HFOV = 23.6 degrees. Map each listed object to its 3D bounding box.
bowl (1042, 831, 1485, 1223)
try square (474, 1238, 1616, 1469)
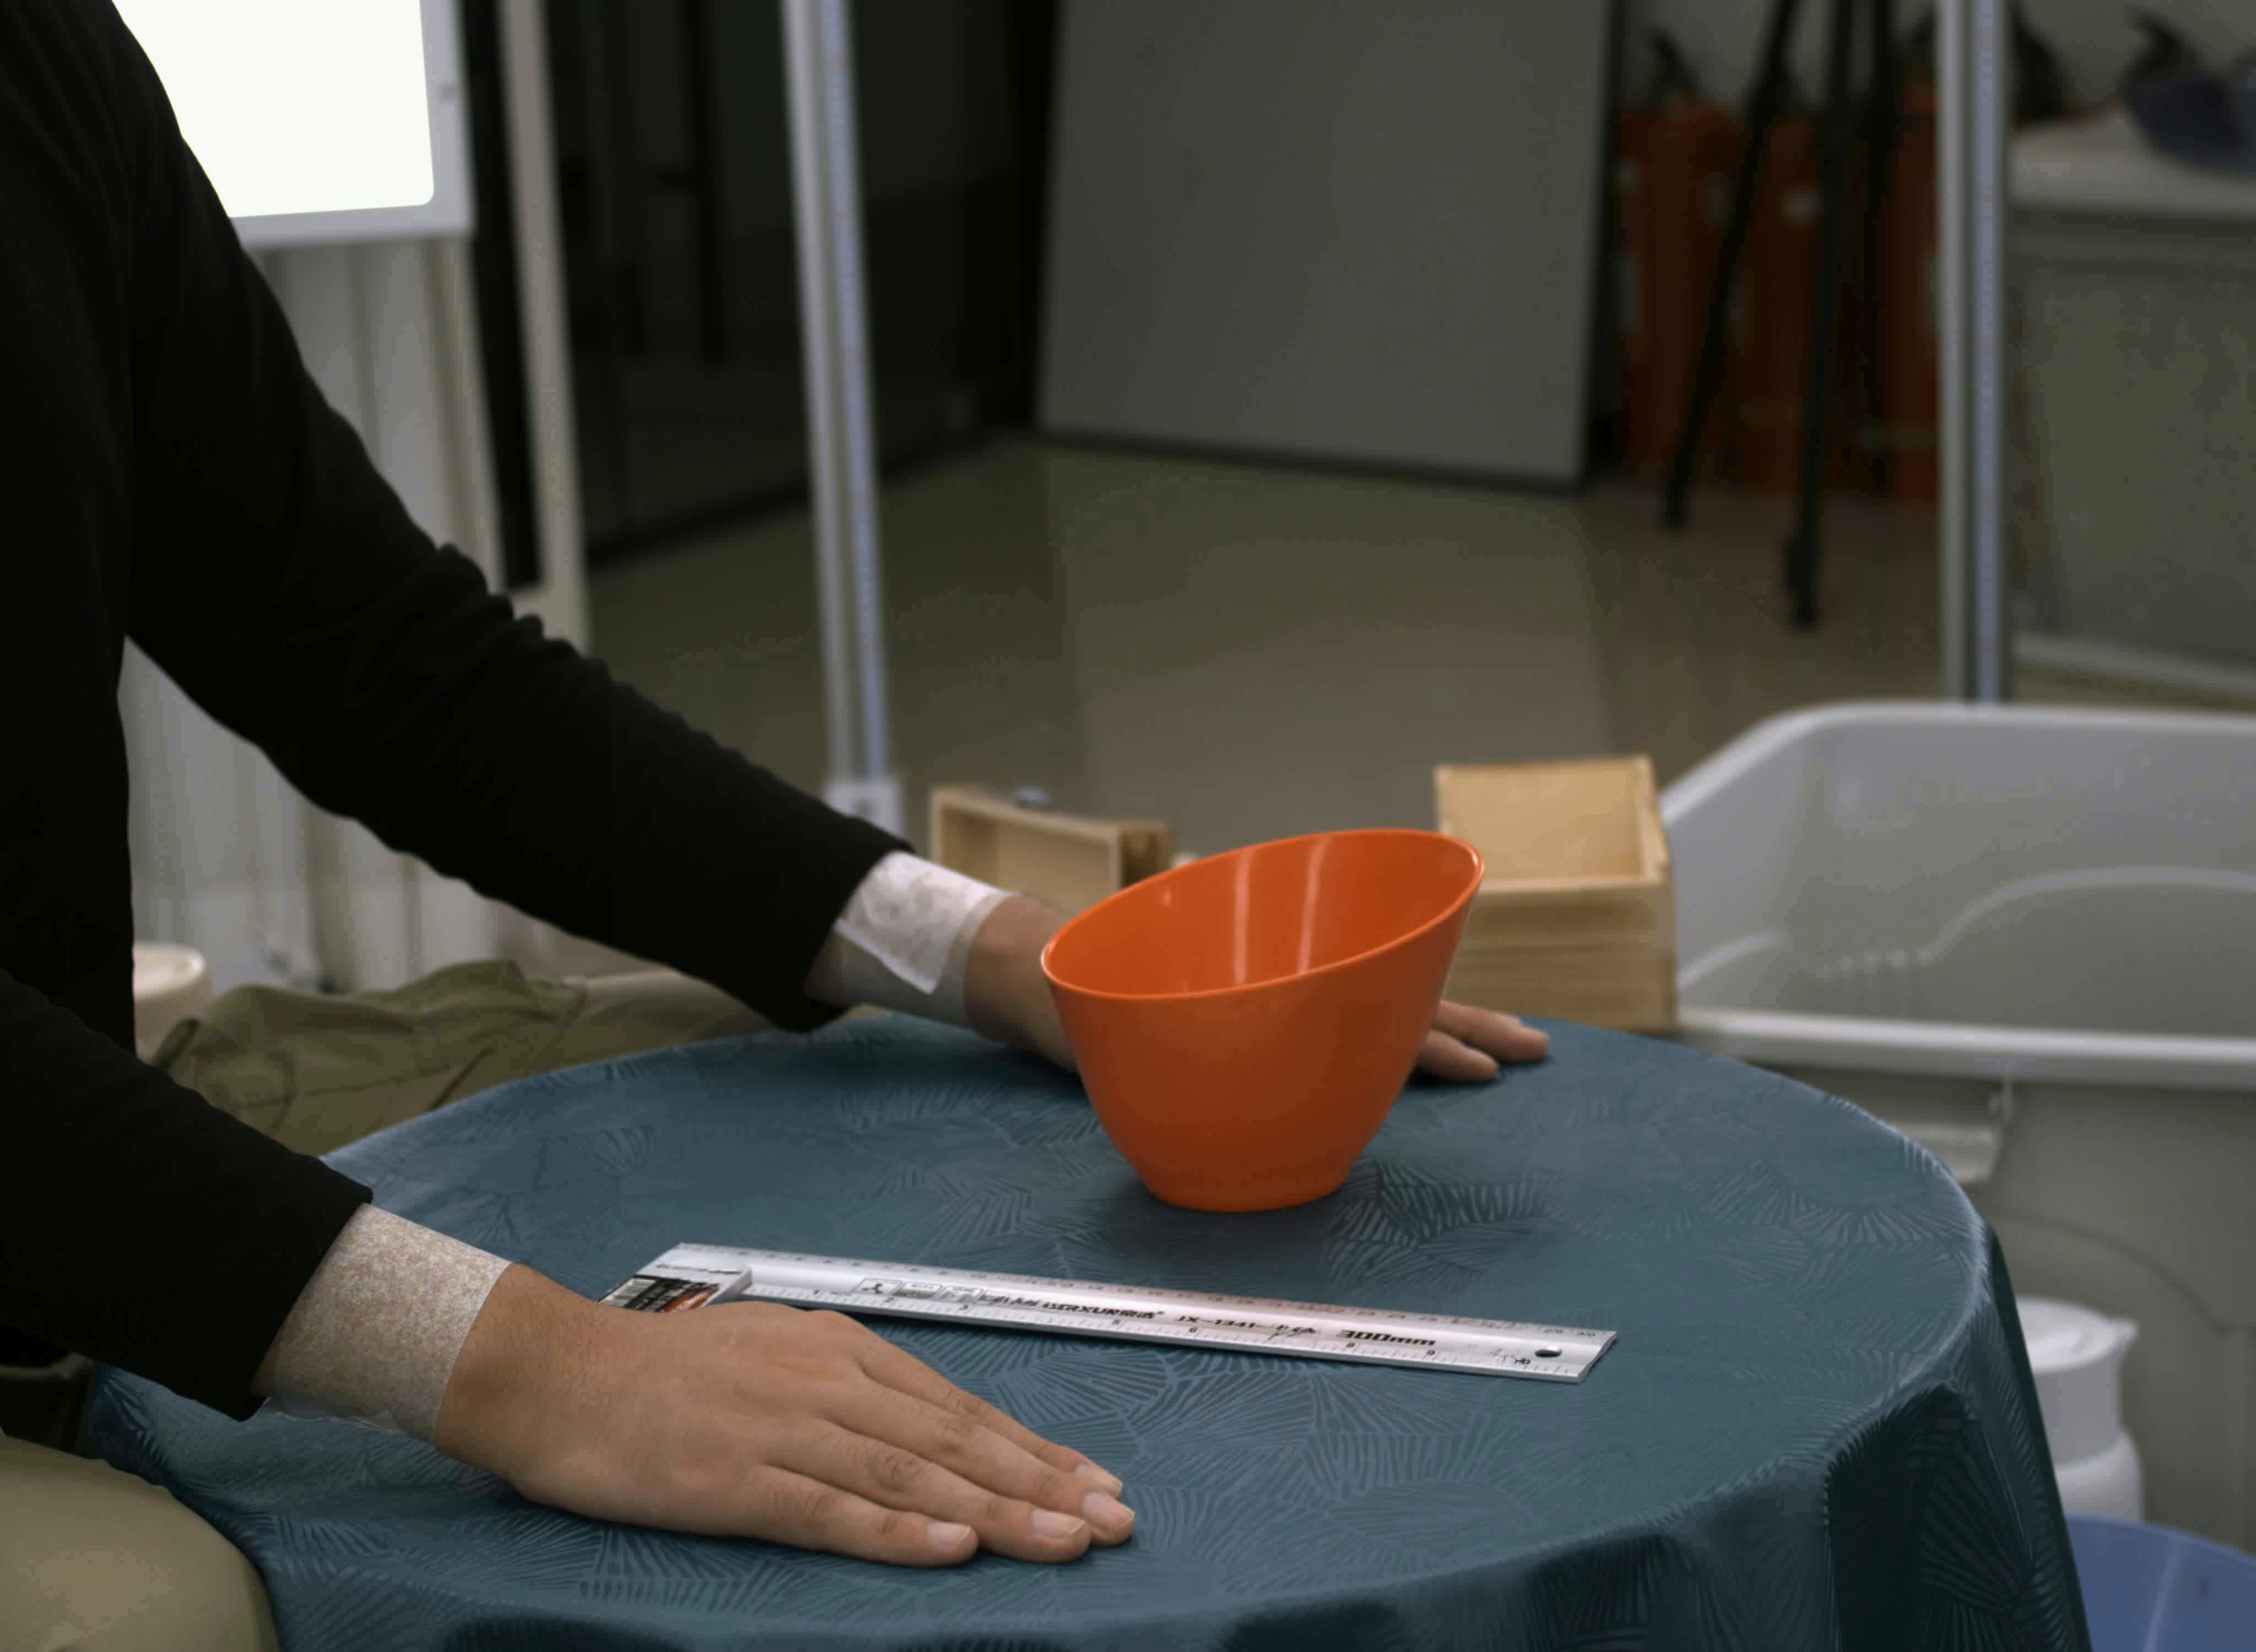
[{"bbox_3d":[0.047,0.068,1.760,0.146,0.106,0.148,-5,15,0],"label":"bowl"},{"bbox_3d":[-0.024,0.165,1.599,0.313,0.016,0.151,3,20,23],"label":"try square"}]
